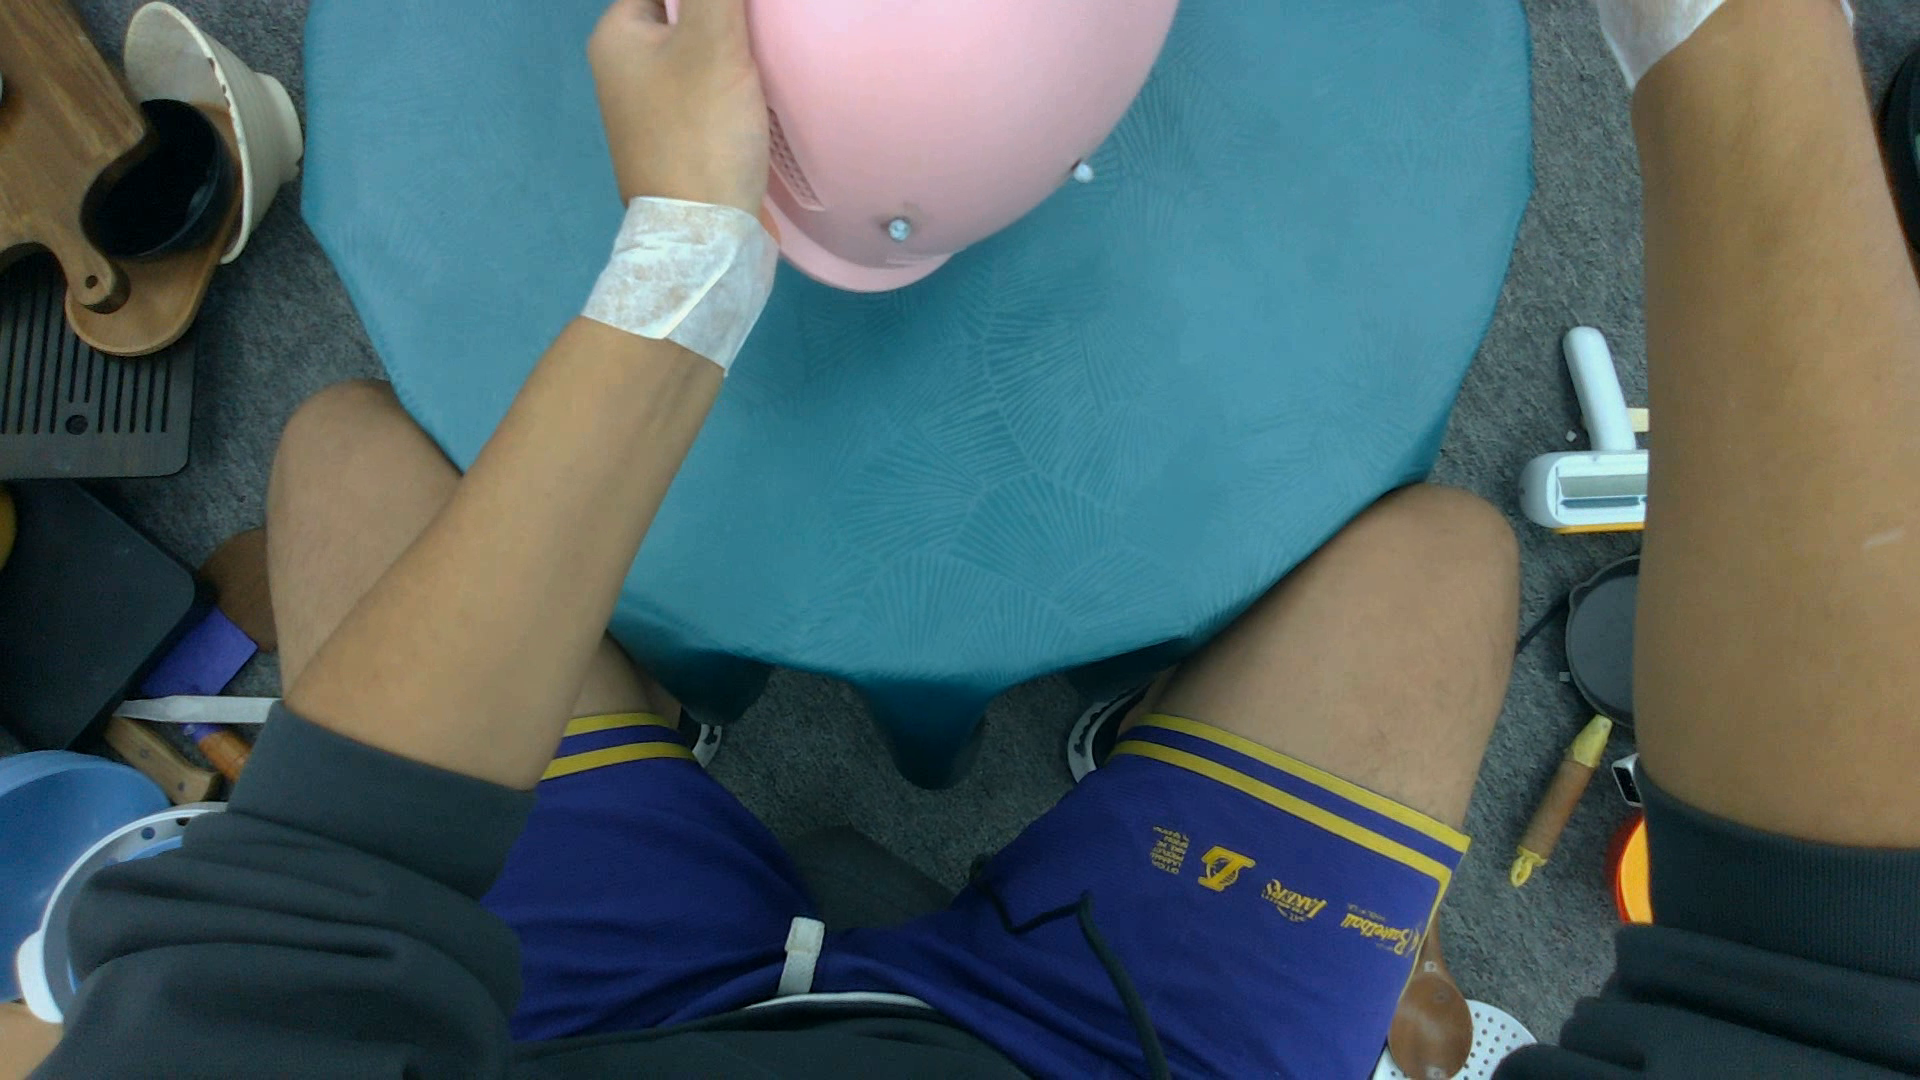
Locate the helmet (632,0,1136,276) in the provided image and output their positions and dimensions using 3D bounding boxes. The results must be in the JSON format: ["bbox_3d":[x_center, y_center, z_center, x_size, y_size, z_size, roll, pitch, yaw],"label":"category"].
[{"bbox_3d":[-0.012,-0.243,0.531,0.158,0.234,0.266,-4,76,32],"label":"helmet"}]
